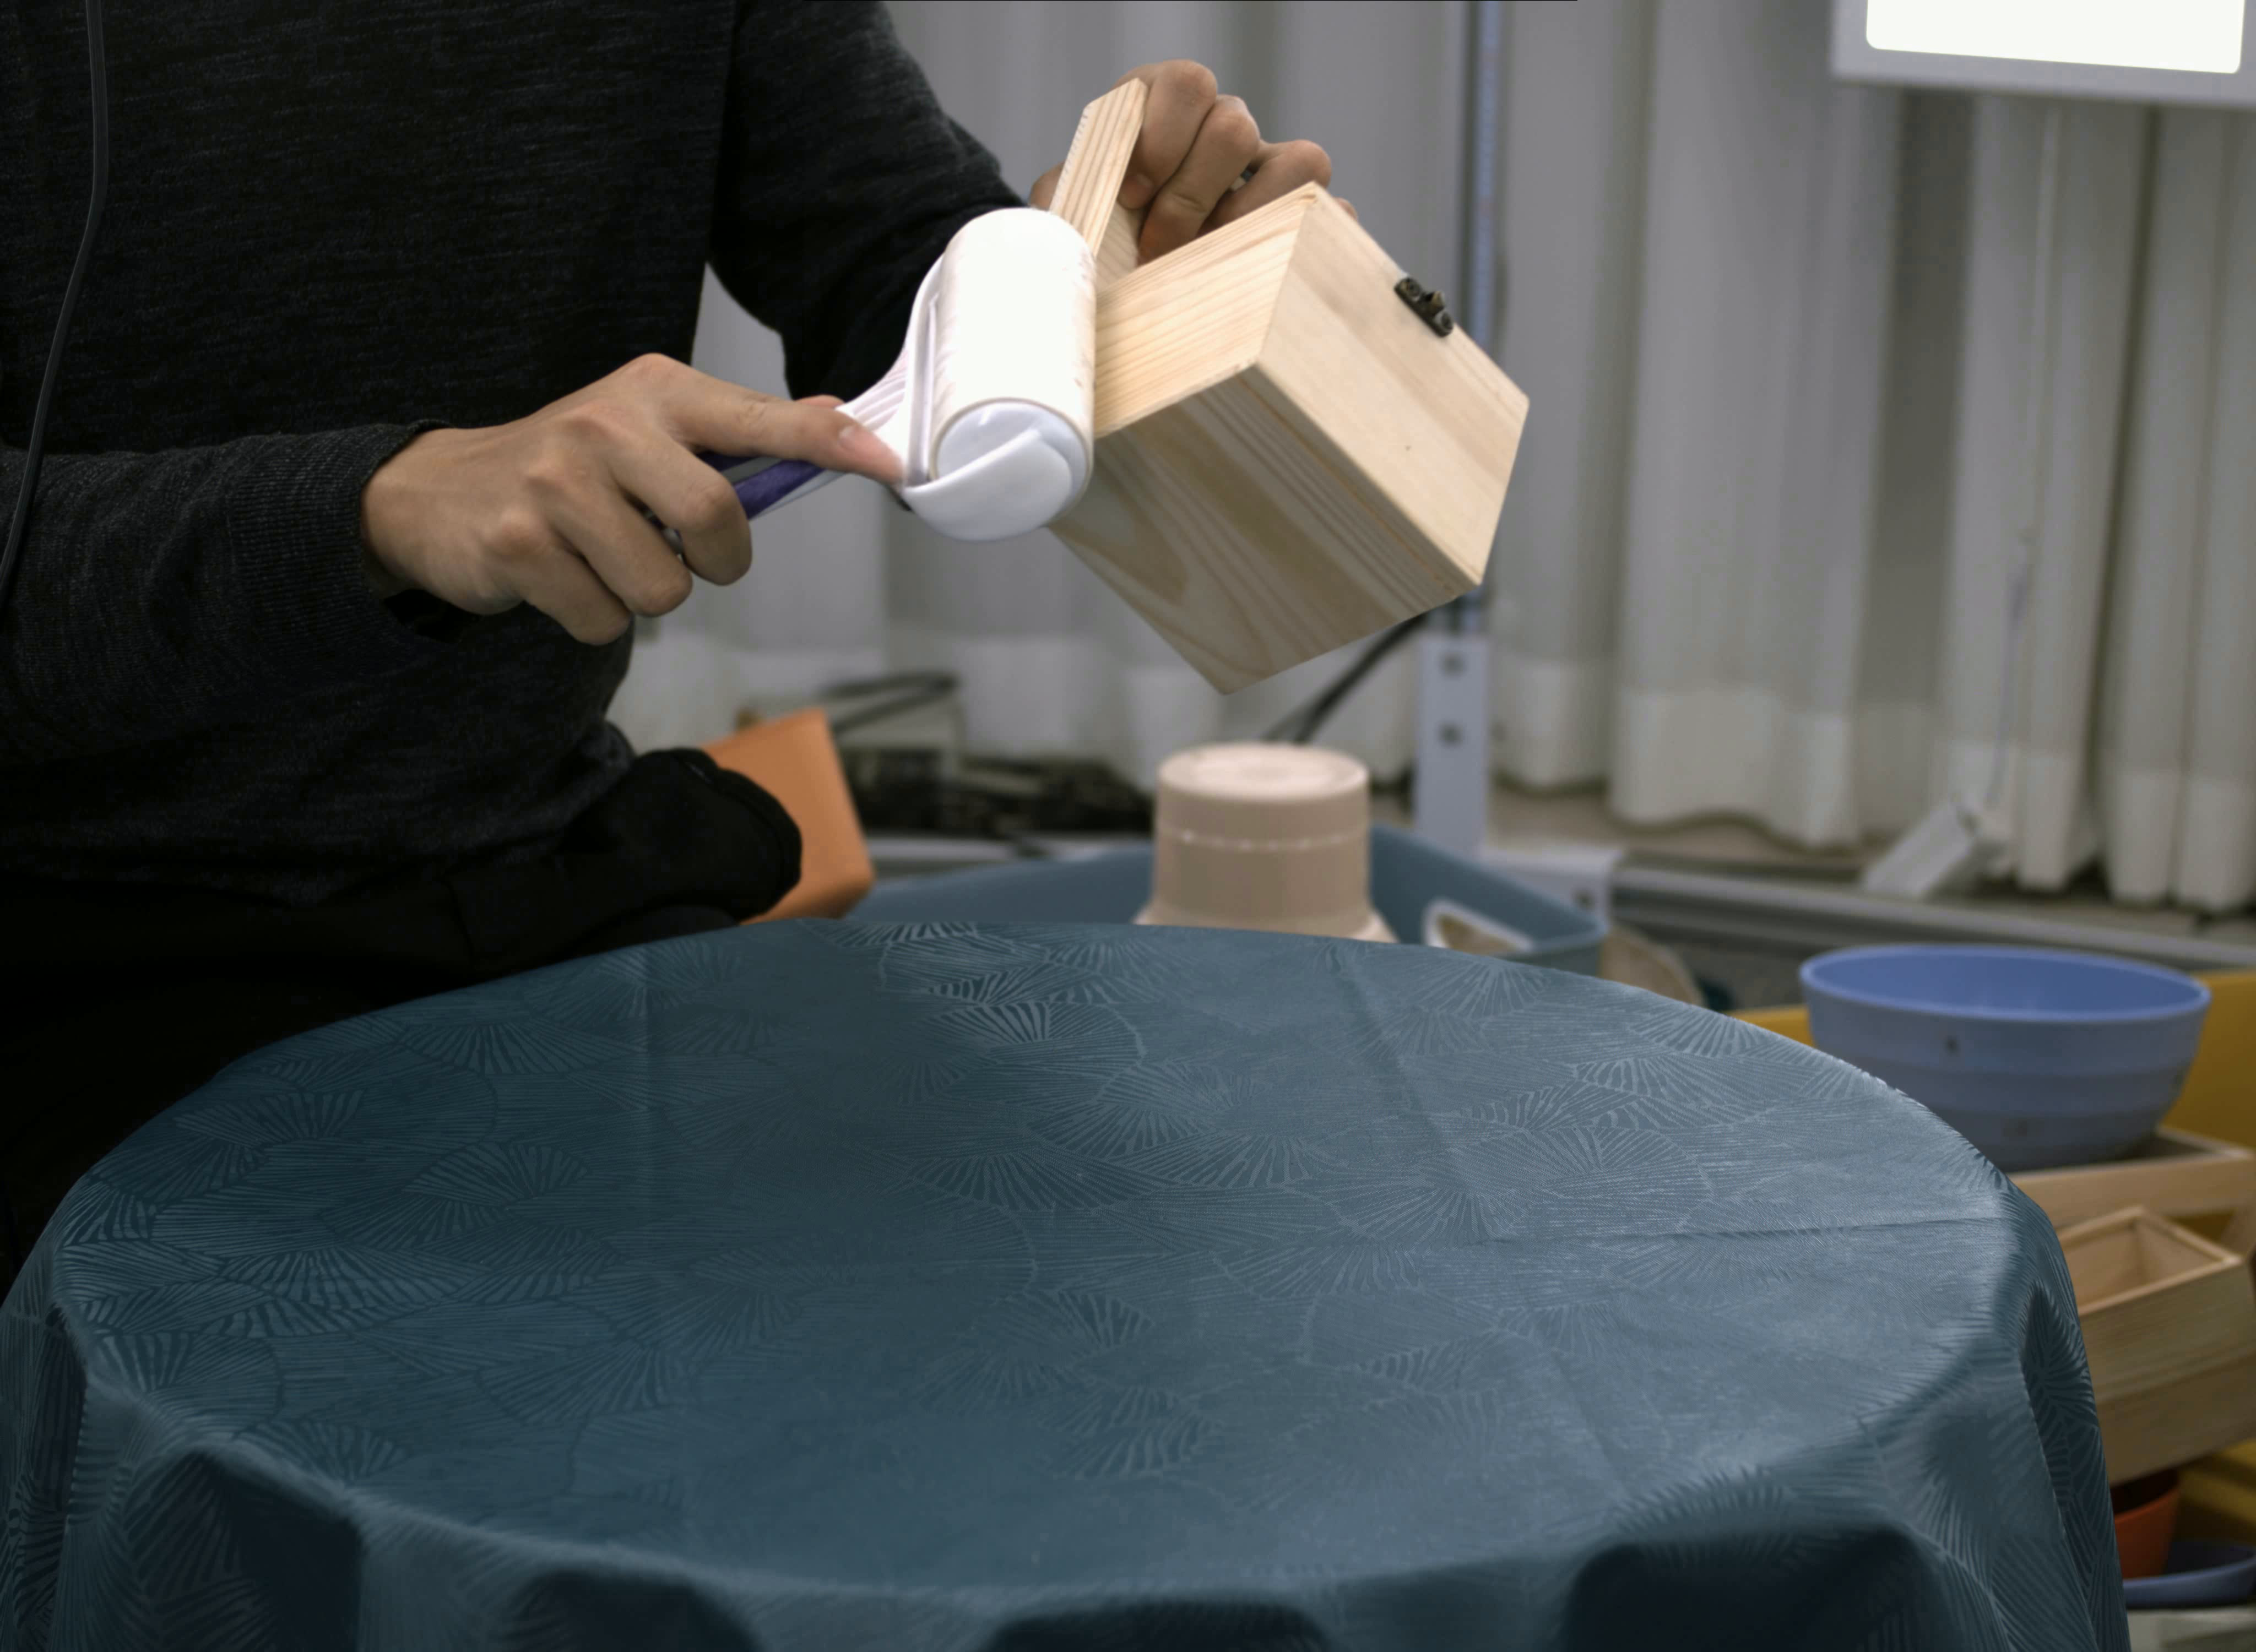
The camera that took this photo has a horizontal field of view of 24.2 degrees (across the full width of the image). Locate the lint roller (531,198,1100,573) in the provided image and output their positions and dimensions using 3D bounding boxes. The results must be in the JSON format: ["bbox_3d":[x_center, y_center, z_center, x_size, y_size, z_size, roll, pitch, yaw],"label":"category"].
[{"bbox_3d":[-0.093,-0.118,1.507,0.180,0.051,0.132,-13,38,12],"label":"lint roller"}]

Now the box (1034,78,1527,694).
[{"bbox_3d":[0.046,-0.148,1.563,0.133,0.104,0.183,-23,36,38],"label":"box"}]
